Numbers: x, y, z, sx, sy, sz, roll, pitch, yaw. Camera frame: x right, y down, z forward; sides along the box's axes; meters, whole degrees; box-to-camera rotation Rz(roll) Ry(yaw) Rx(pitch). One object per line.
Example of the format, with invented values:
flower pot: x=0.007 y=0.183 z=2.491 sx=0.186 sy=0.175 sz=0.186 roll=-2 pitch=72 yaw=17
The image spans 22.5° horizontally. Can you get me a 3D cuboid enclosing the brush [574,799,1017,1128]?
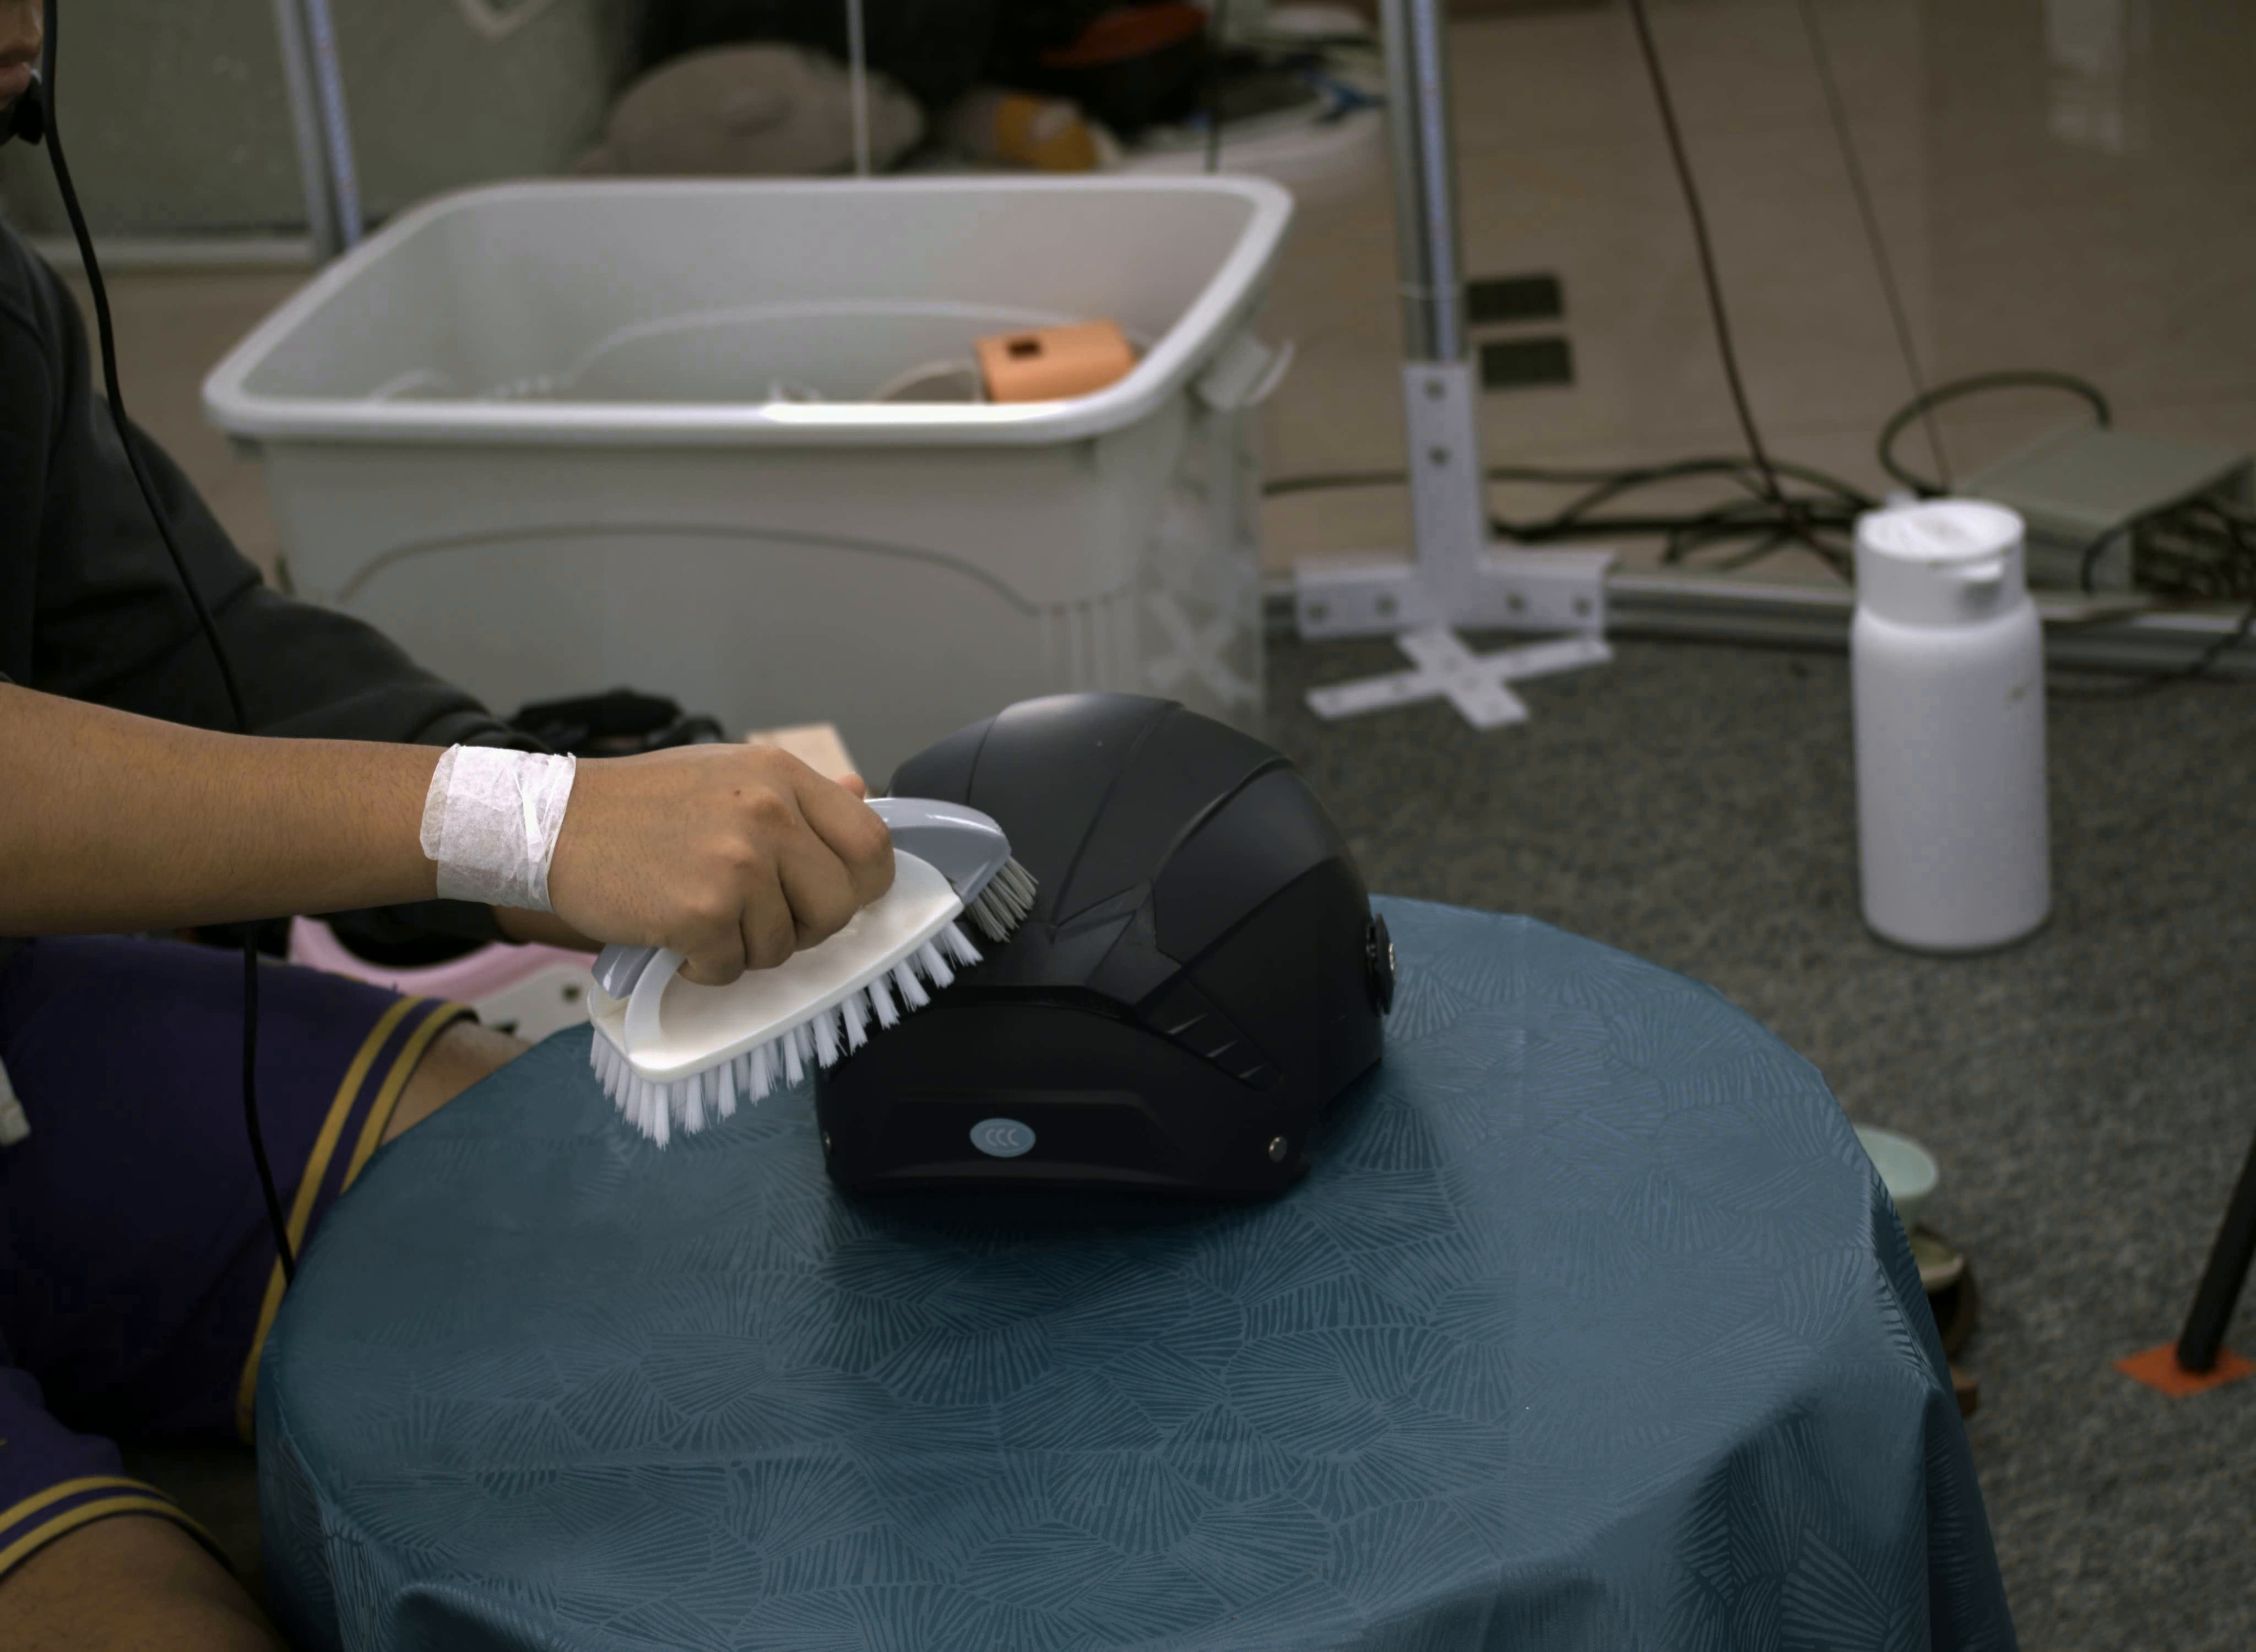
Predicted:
brush: x=-0.115 y=0.031 z=2.012 sx=0.174 sy=0.096 sz=0.060 roll=-25 pitch=50 yaw=-21

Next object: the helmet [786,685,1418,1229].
helmet: x=-0.014 y=0.034 z=2.185 sx=0.246 sy=0.175 sz=0.272 roll=2 pitch=31 yaw=15
